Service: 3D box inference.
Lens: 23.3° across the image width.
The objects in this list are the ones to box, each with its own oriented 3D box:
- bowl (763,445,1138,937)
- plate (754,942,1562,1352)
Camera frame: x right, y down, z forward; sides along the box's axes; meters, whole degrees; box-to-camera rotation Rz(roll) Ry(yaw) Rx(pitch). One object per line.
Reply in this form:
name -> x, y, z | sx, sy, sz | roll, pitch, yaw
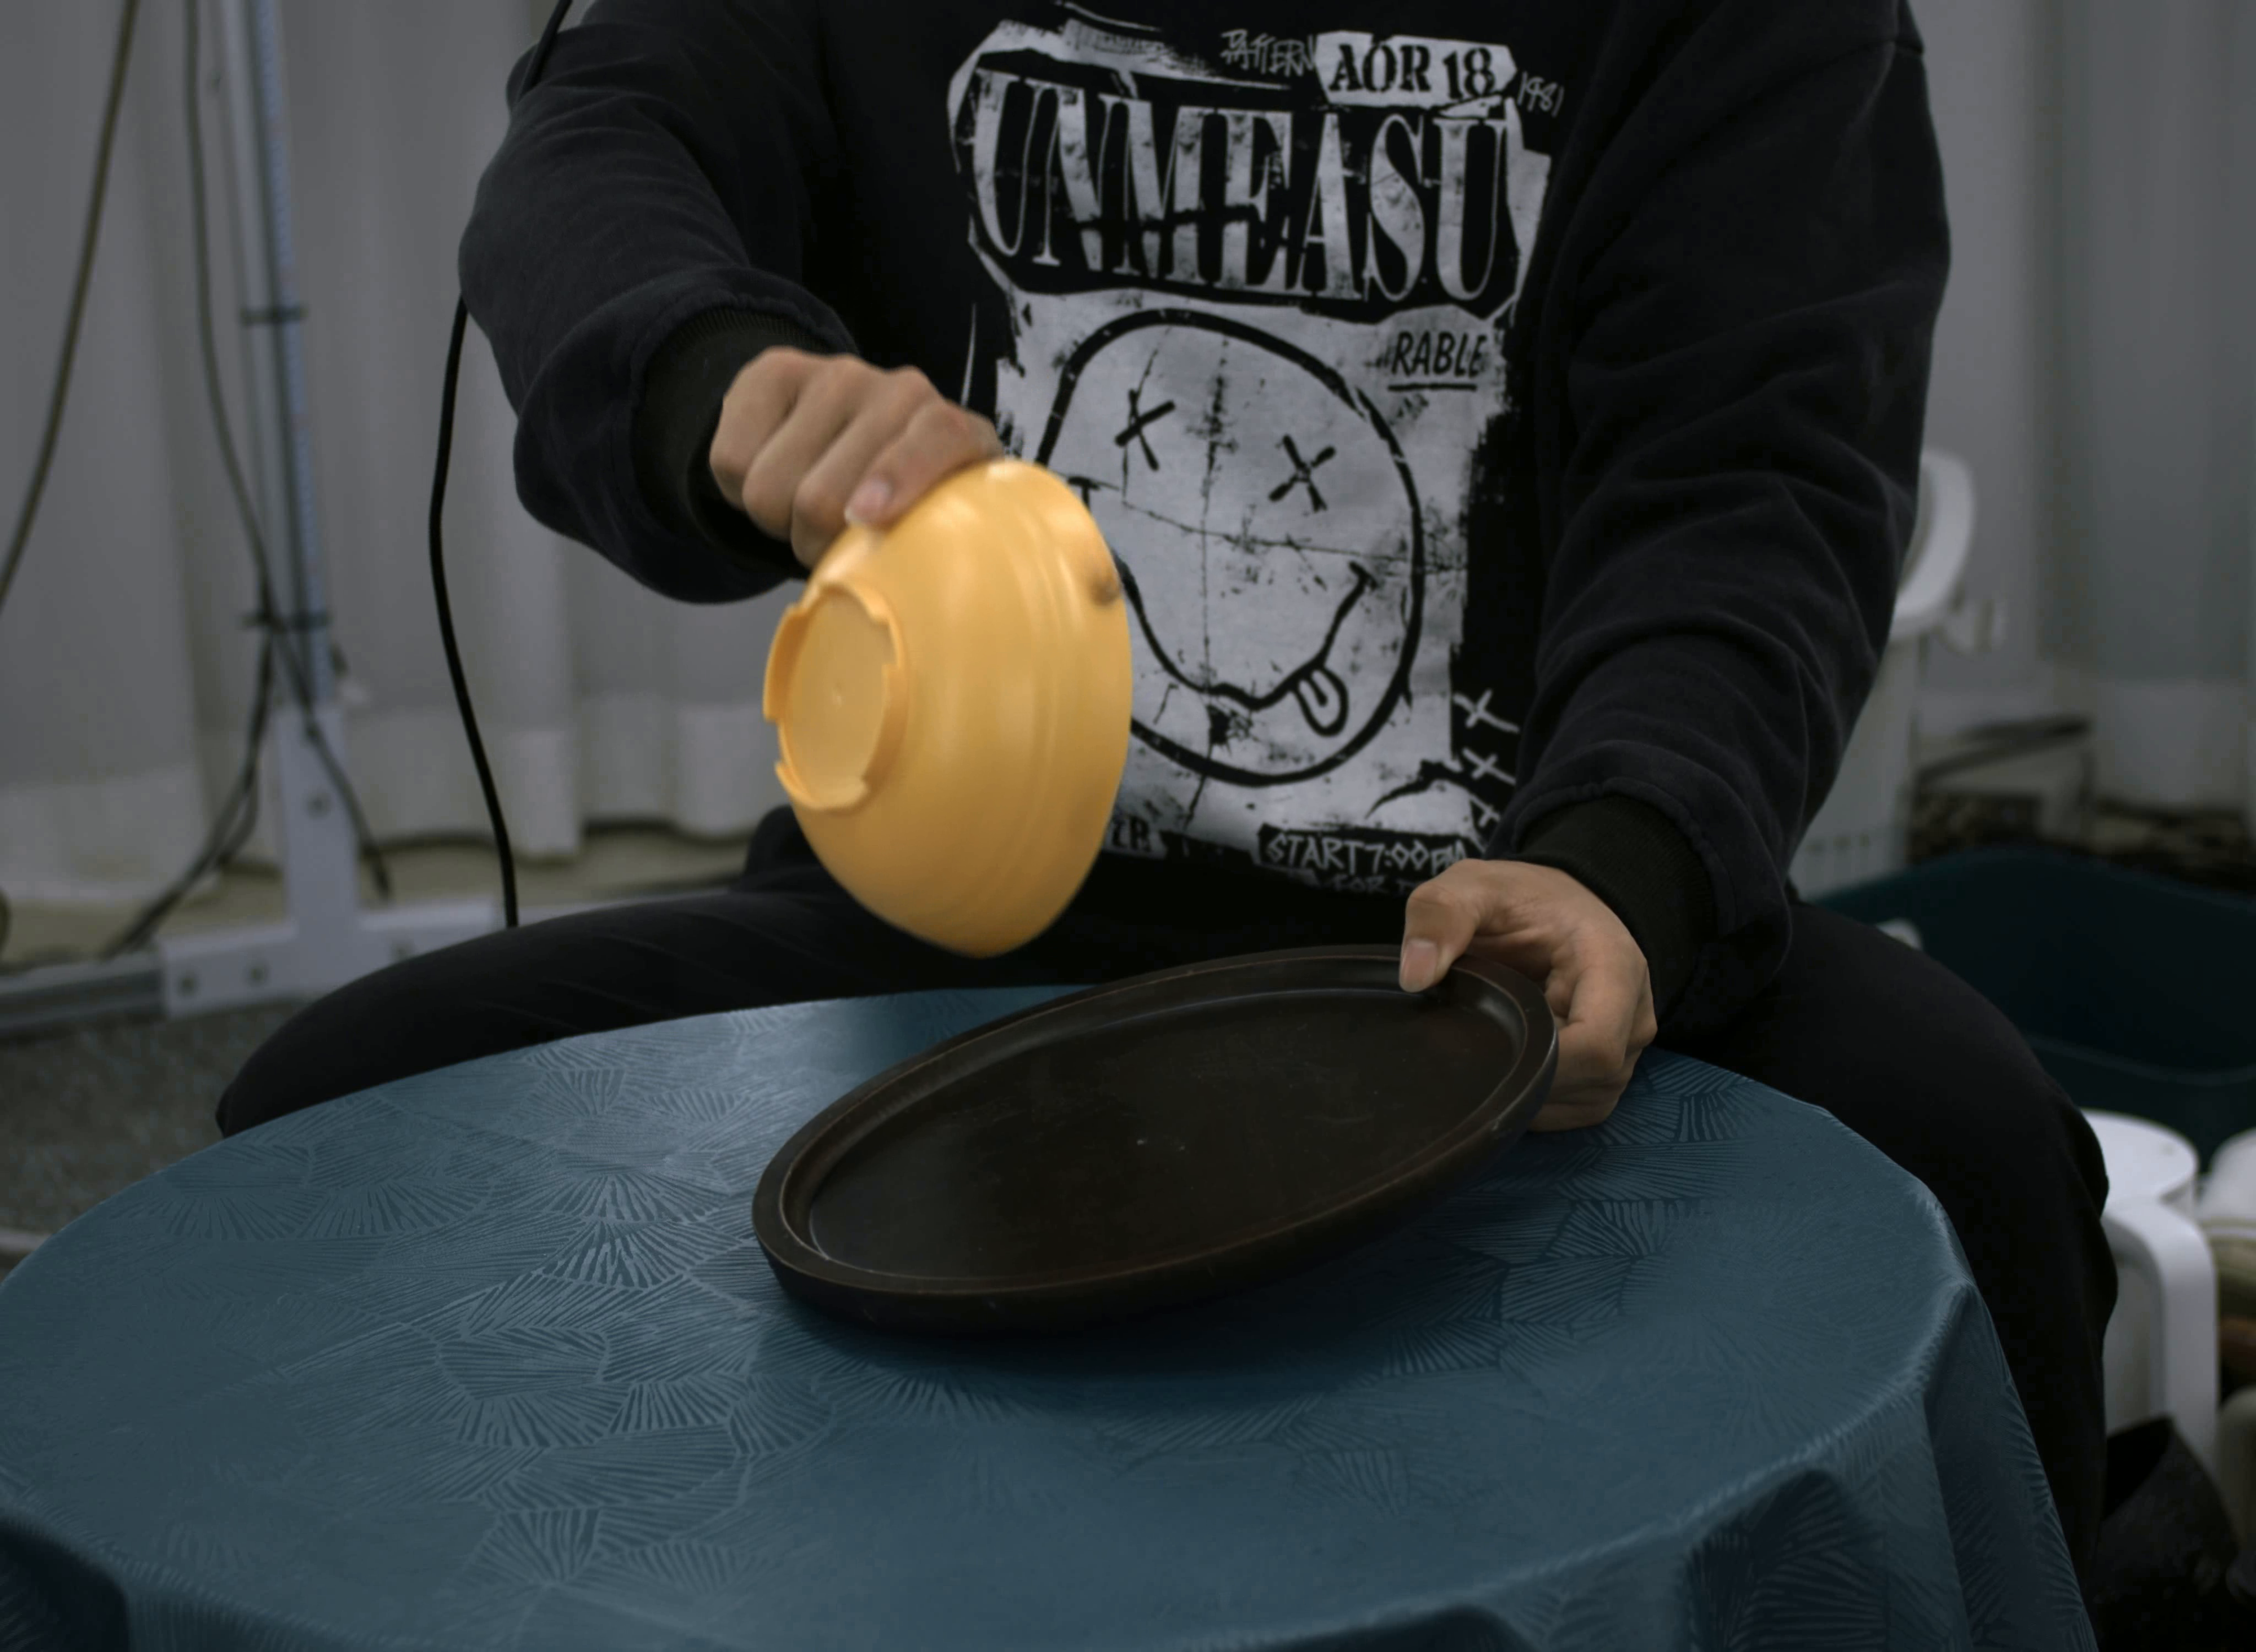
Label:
bowl -> -0.064, -0.041, 1.574 | 0.059, 0.145, 0.146 | 5, 7, -37
plate -> 0.010, 0.096, 1.660 | 0.254, 0.029, 0.257 | -15, 16, 4
